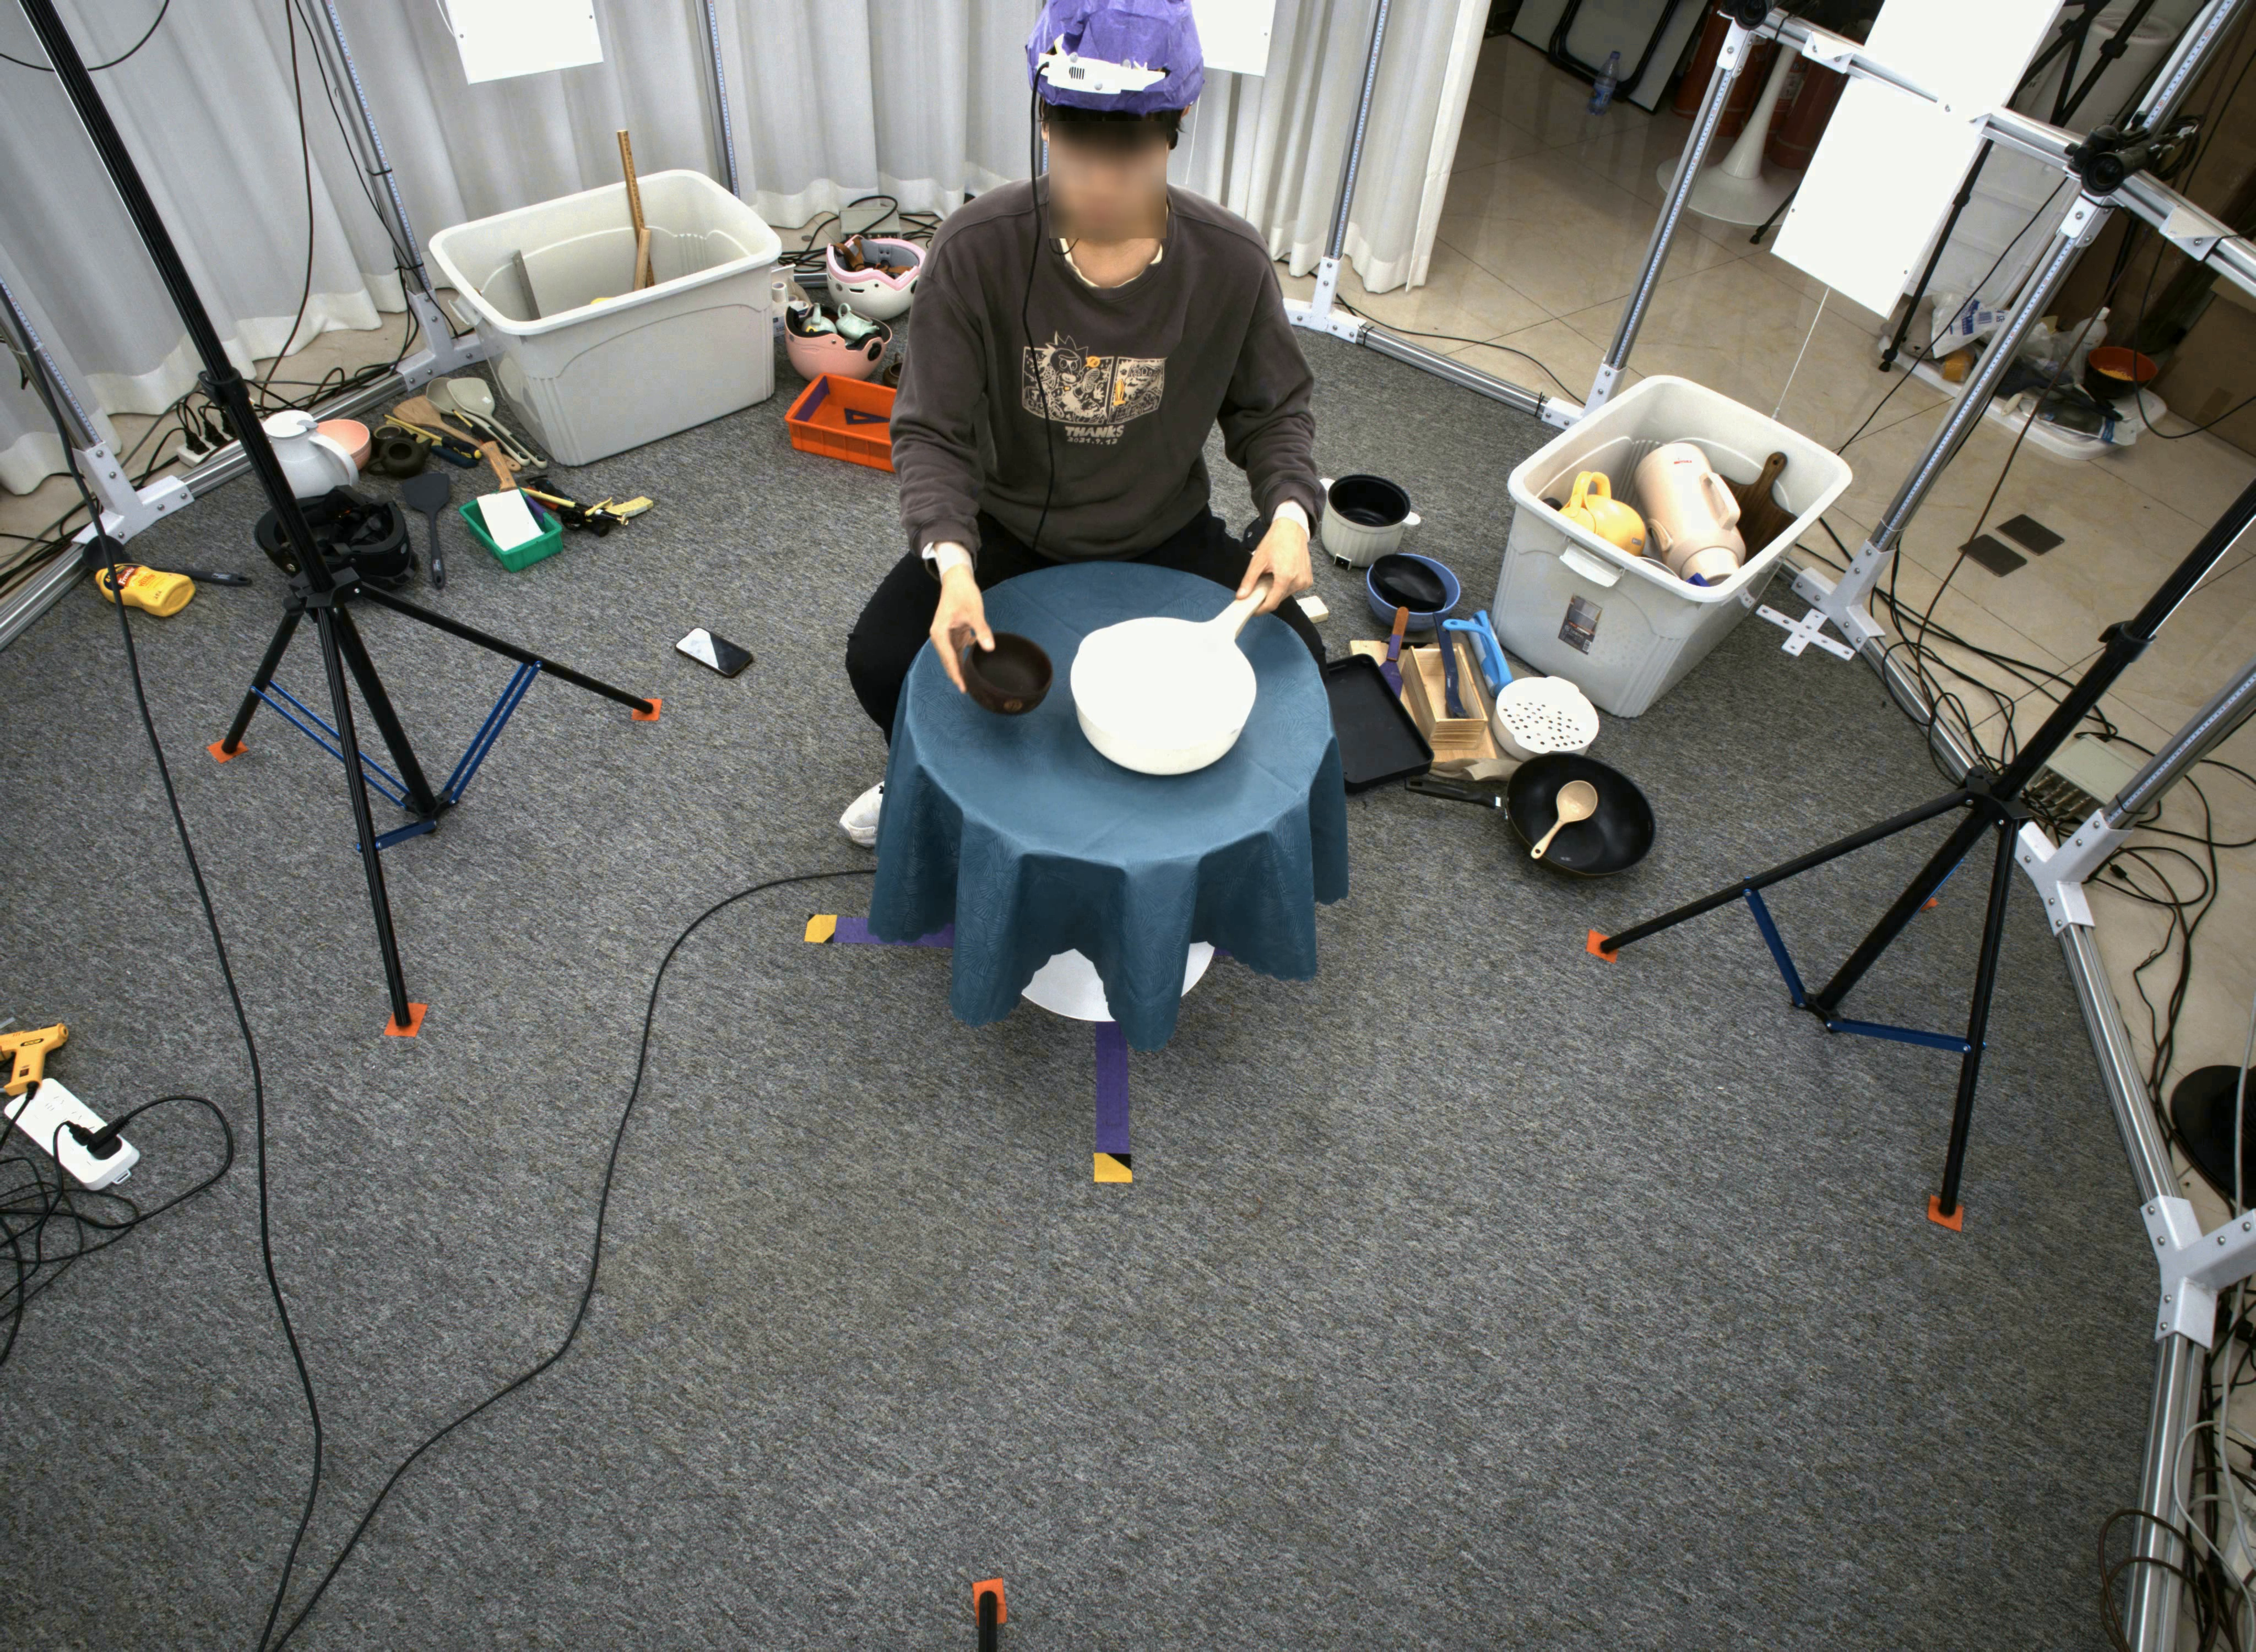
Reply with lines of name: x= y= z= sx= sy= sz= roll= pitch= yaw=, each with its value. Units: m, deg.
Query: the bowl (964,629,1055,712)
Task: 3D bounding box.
bowl: x=-0.162 y=-0.199 z=1.712 sx=0.117 sy=0.068 sz=0.121 roll=12 pitch=46 yaw=-13

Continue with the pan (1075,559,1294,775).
pan: x=0.107 y=-0.229 z=1.809 sx=0.266 sy=0.099 sz=0.440 roll=30 pitch=53 yaw=23
